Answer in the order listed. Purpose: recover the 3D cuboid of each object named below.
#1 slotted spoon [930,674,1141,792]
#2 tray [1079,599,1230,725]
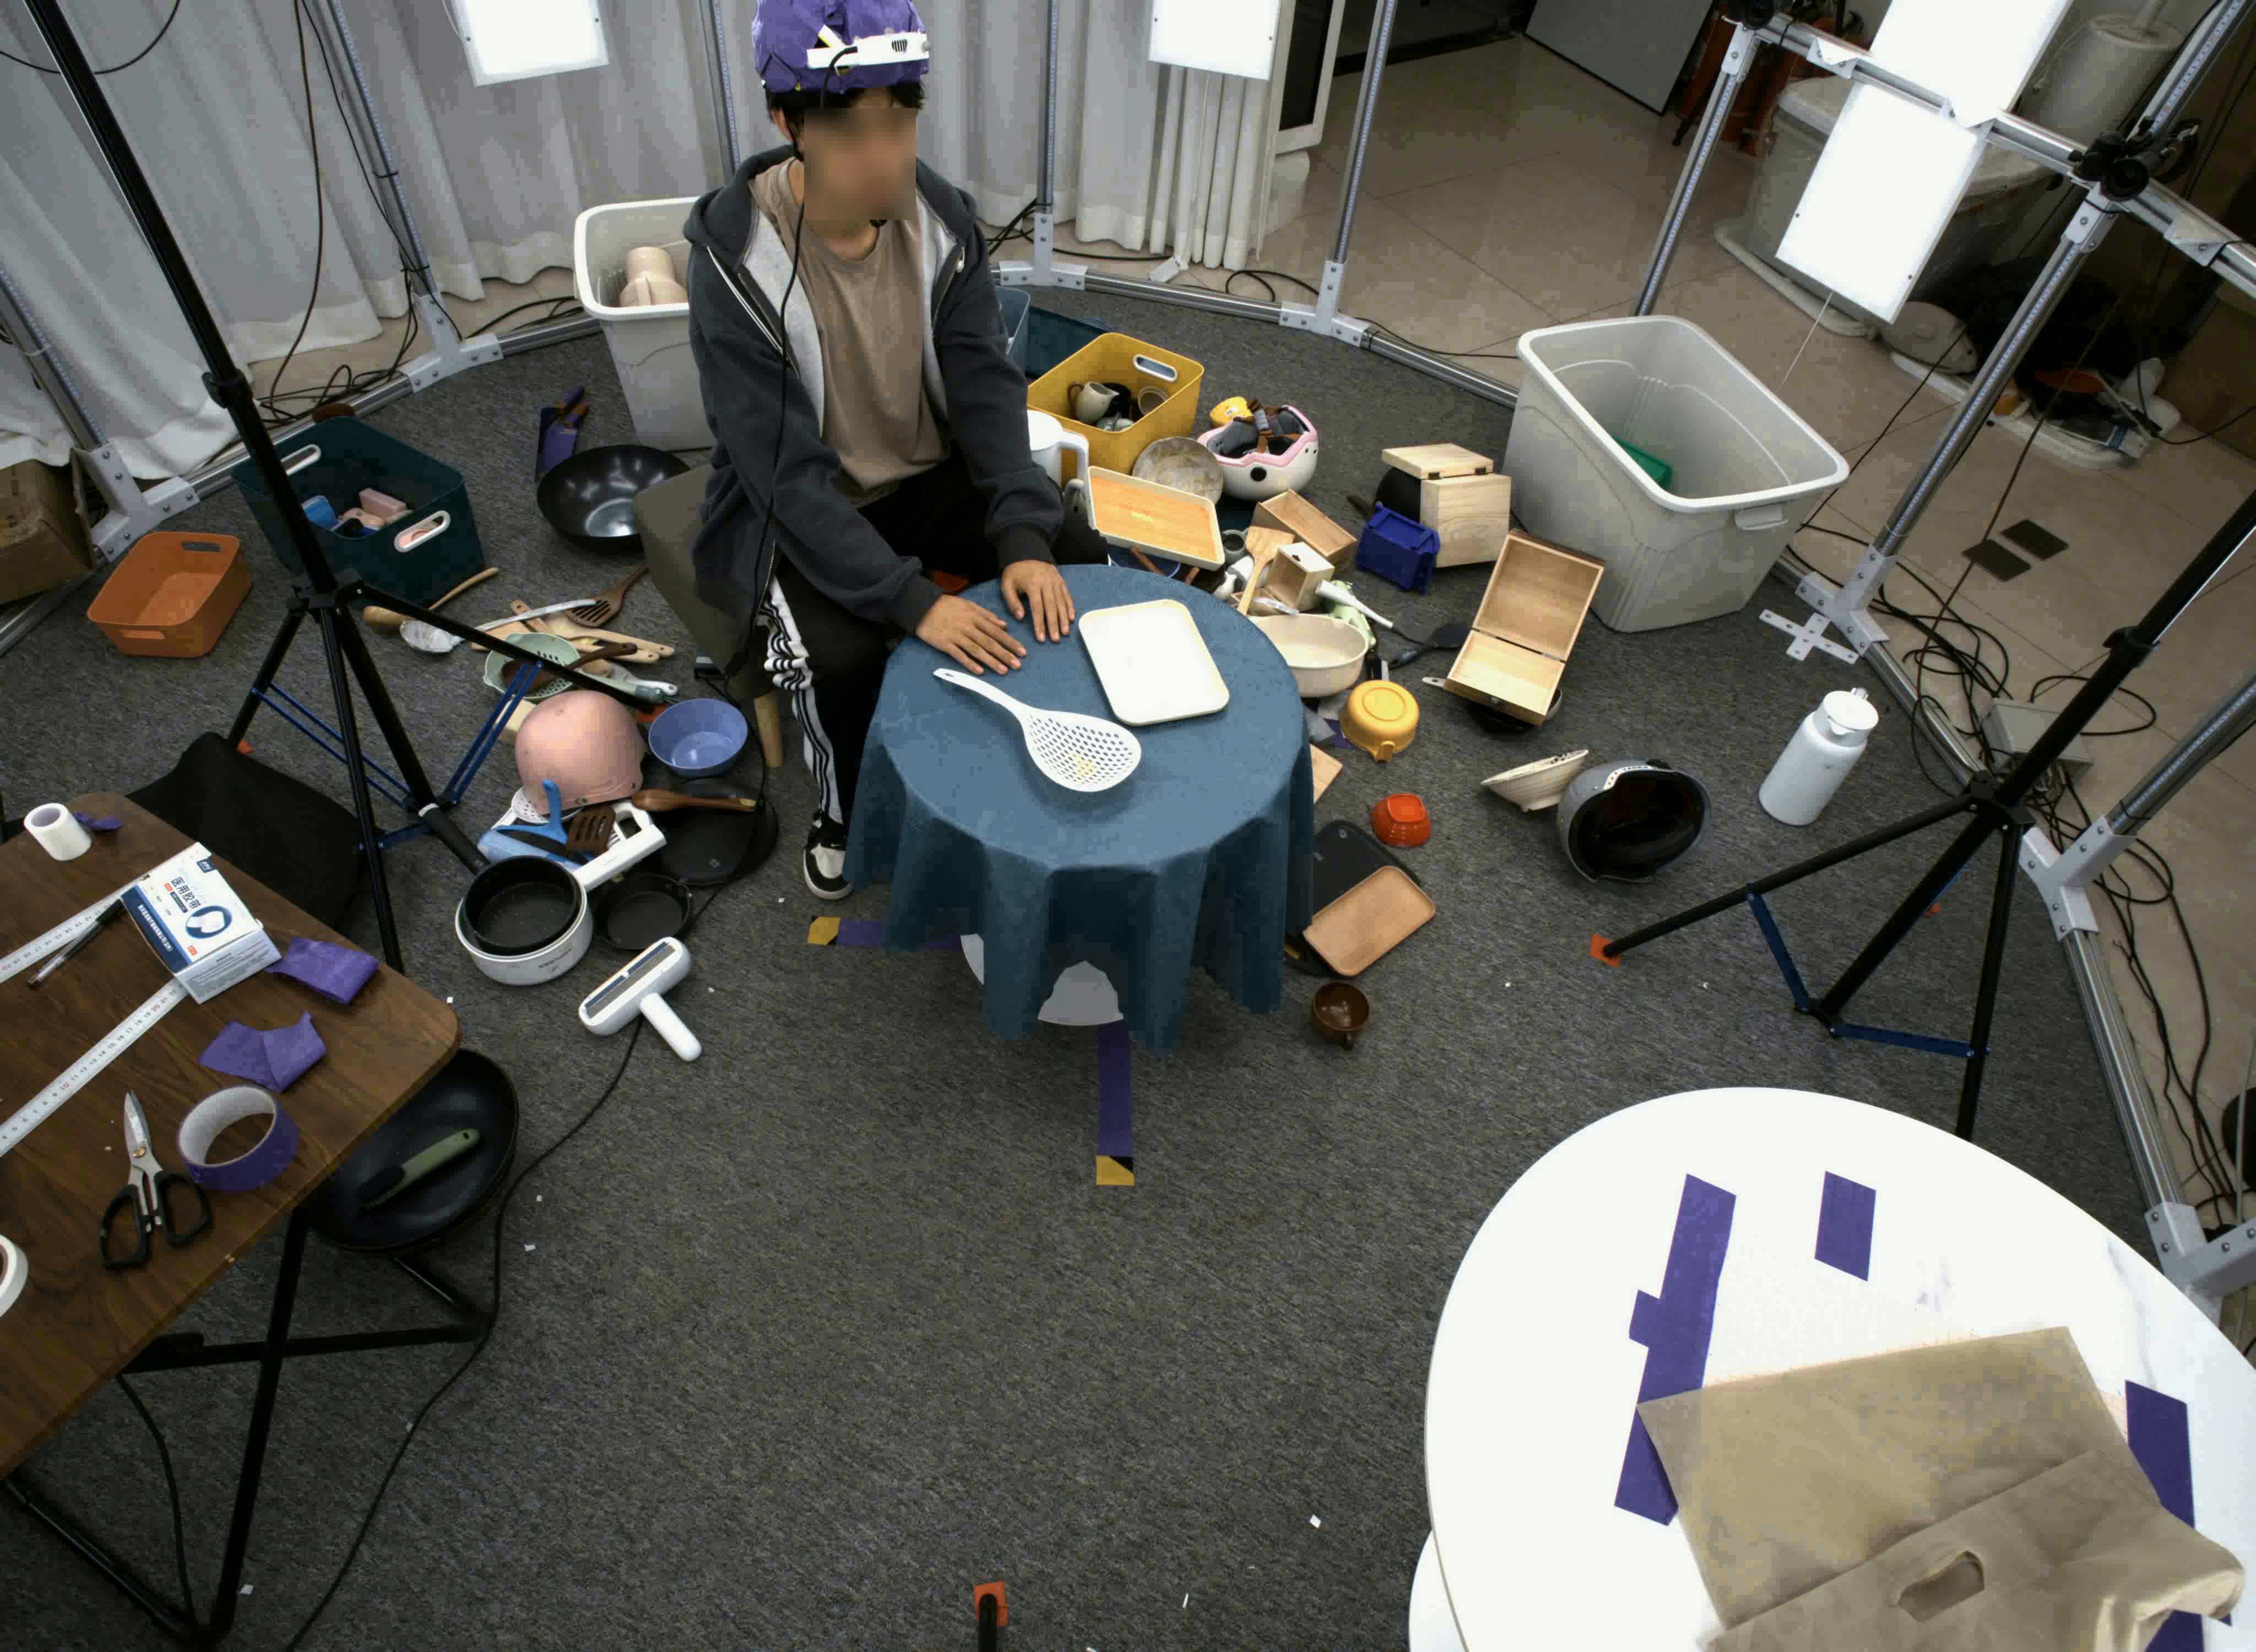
[{"bbox_3d":[-0.138,-0.143,1.754,0.352,0.049,0.138,34,56,23],"label":"slotted spoon"},{"bbox_3d":[0.036,-0.240,1.865,0.171,0.017,0.245,-11,51,-12],"label":"tray"}]
